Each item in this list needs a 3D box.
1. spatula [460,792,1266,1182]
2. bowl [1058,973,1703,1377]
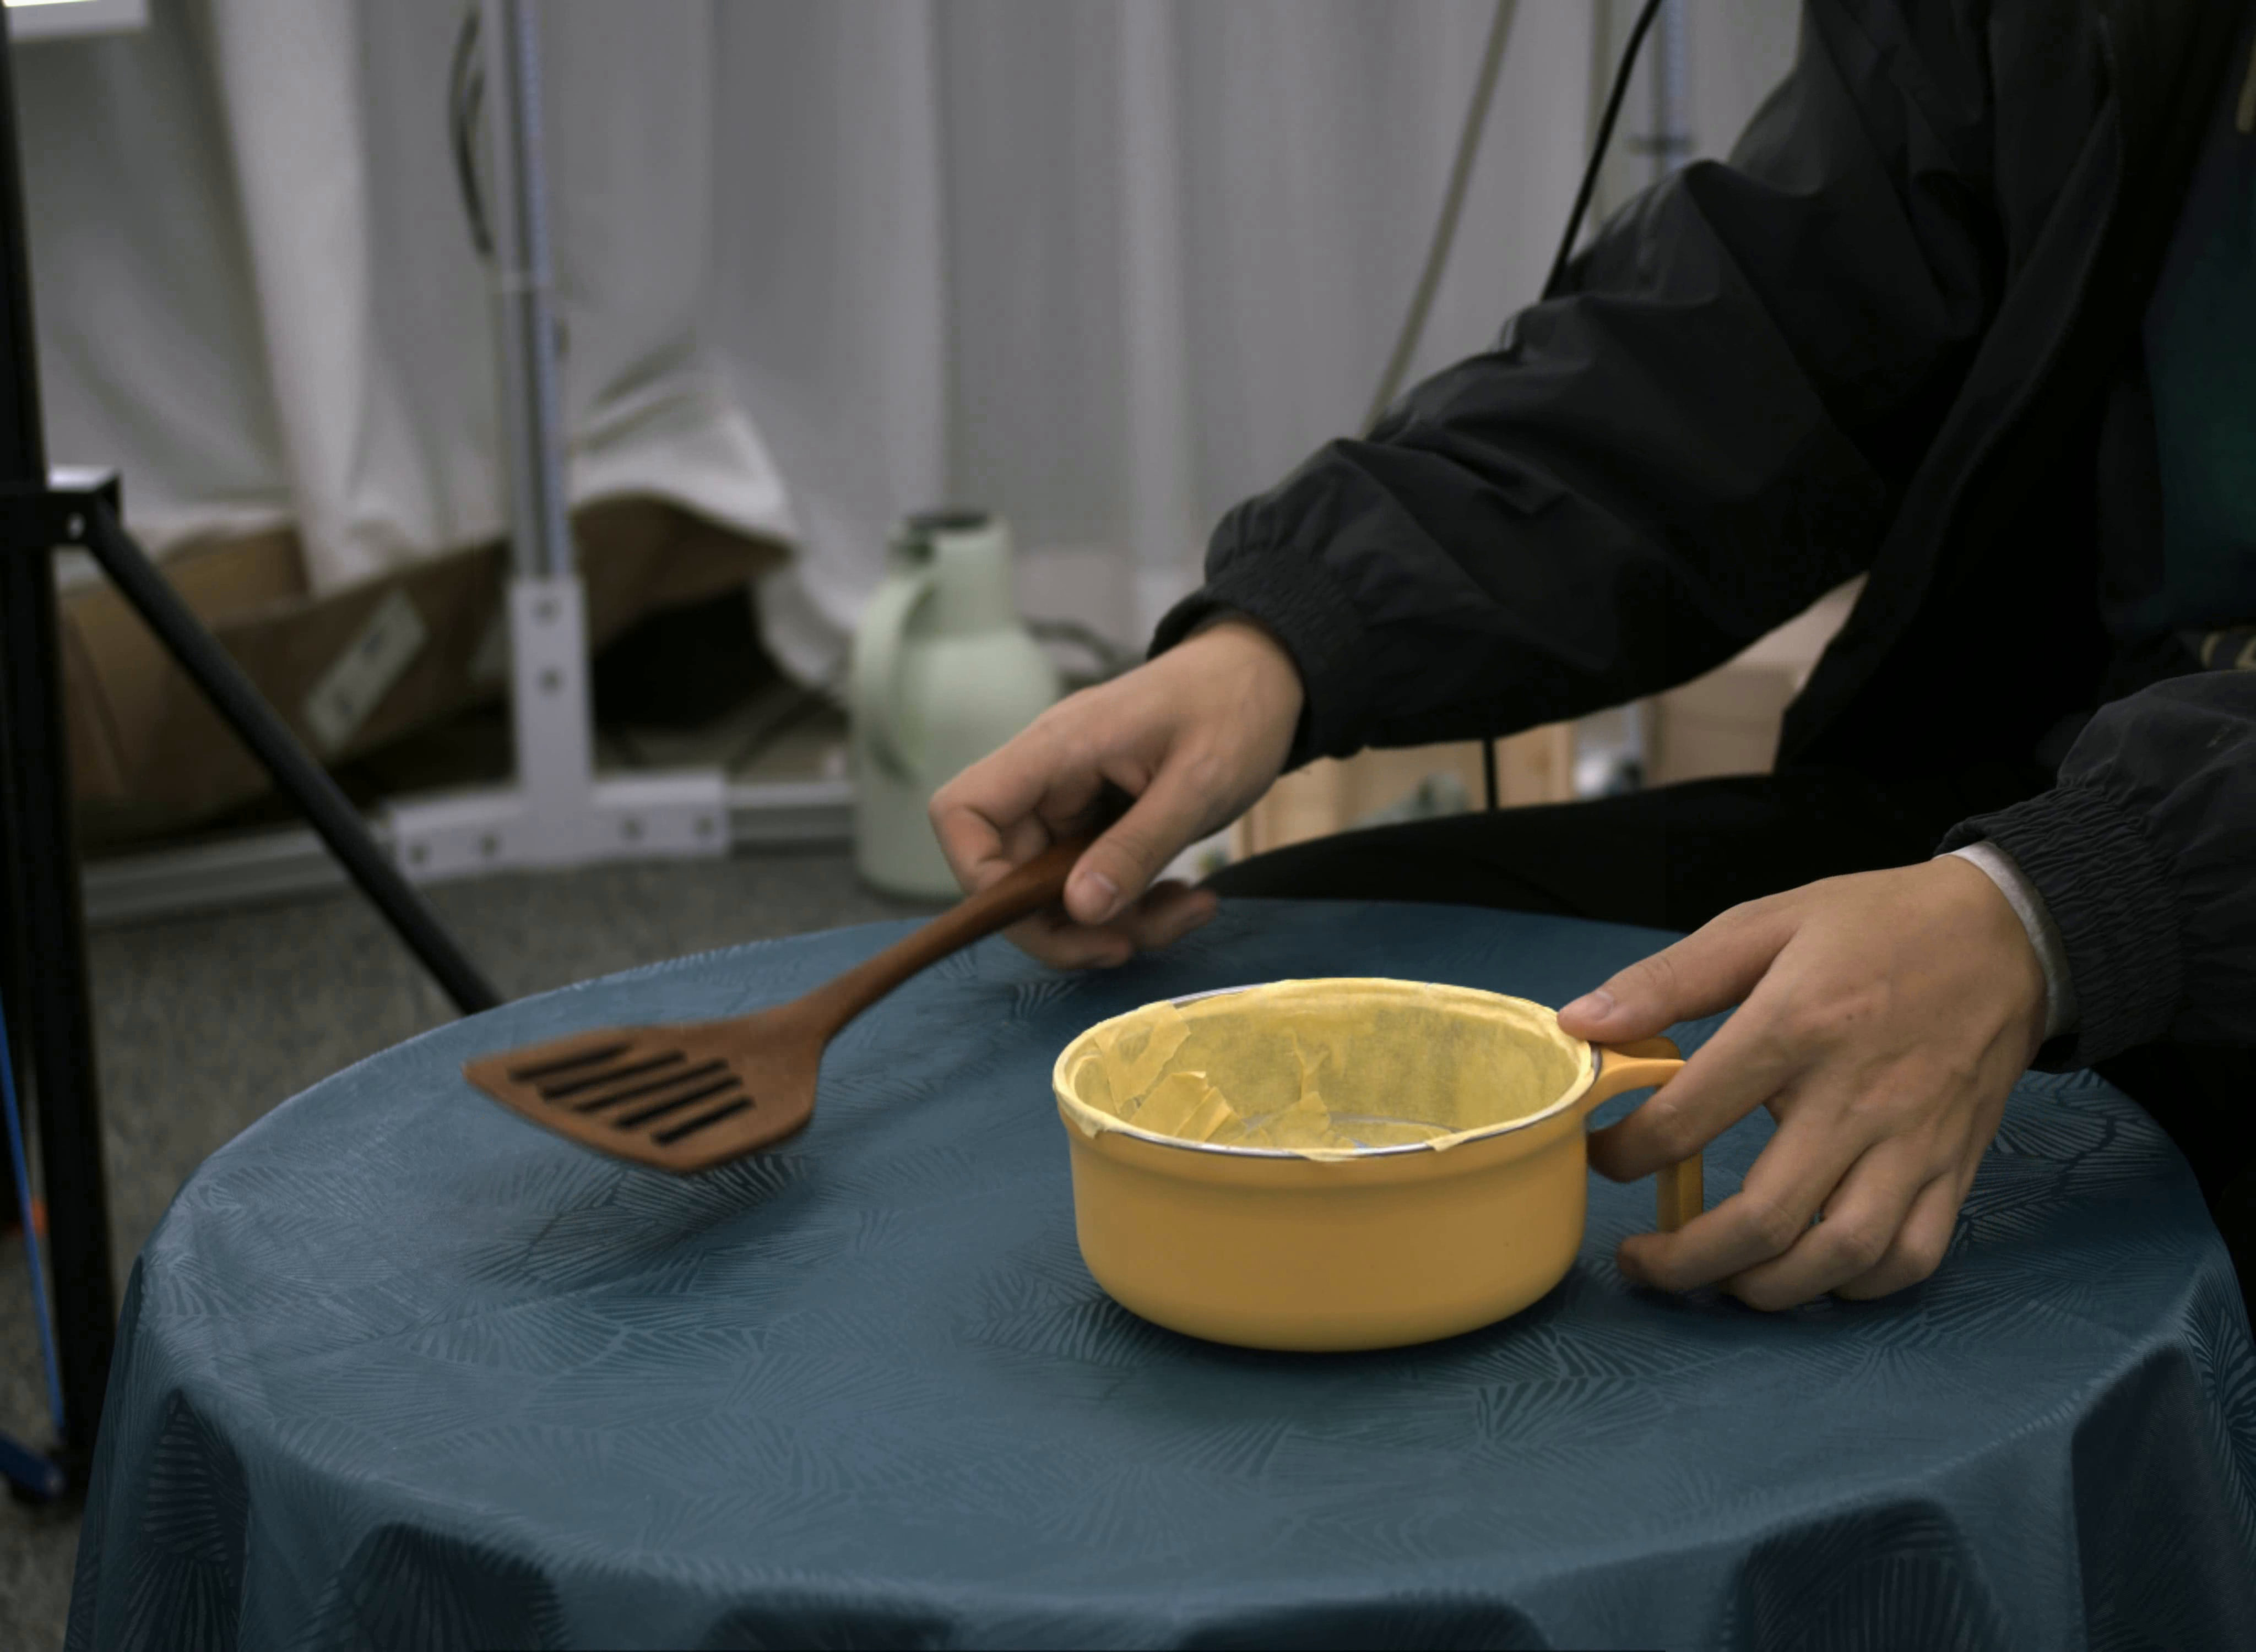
[{"bbox_3d":[-0.064,0.046,1.673,0.087,0.024,0.379,22,28,28],"label":"spatula"},{"bbox_3d":[0.071,0.098,1.470,0.177,0.074,0.155,-6,17,-11],"label":"bowl"}]
